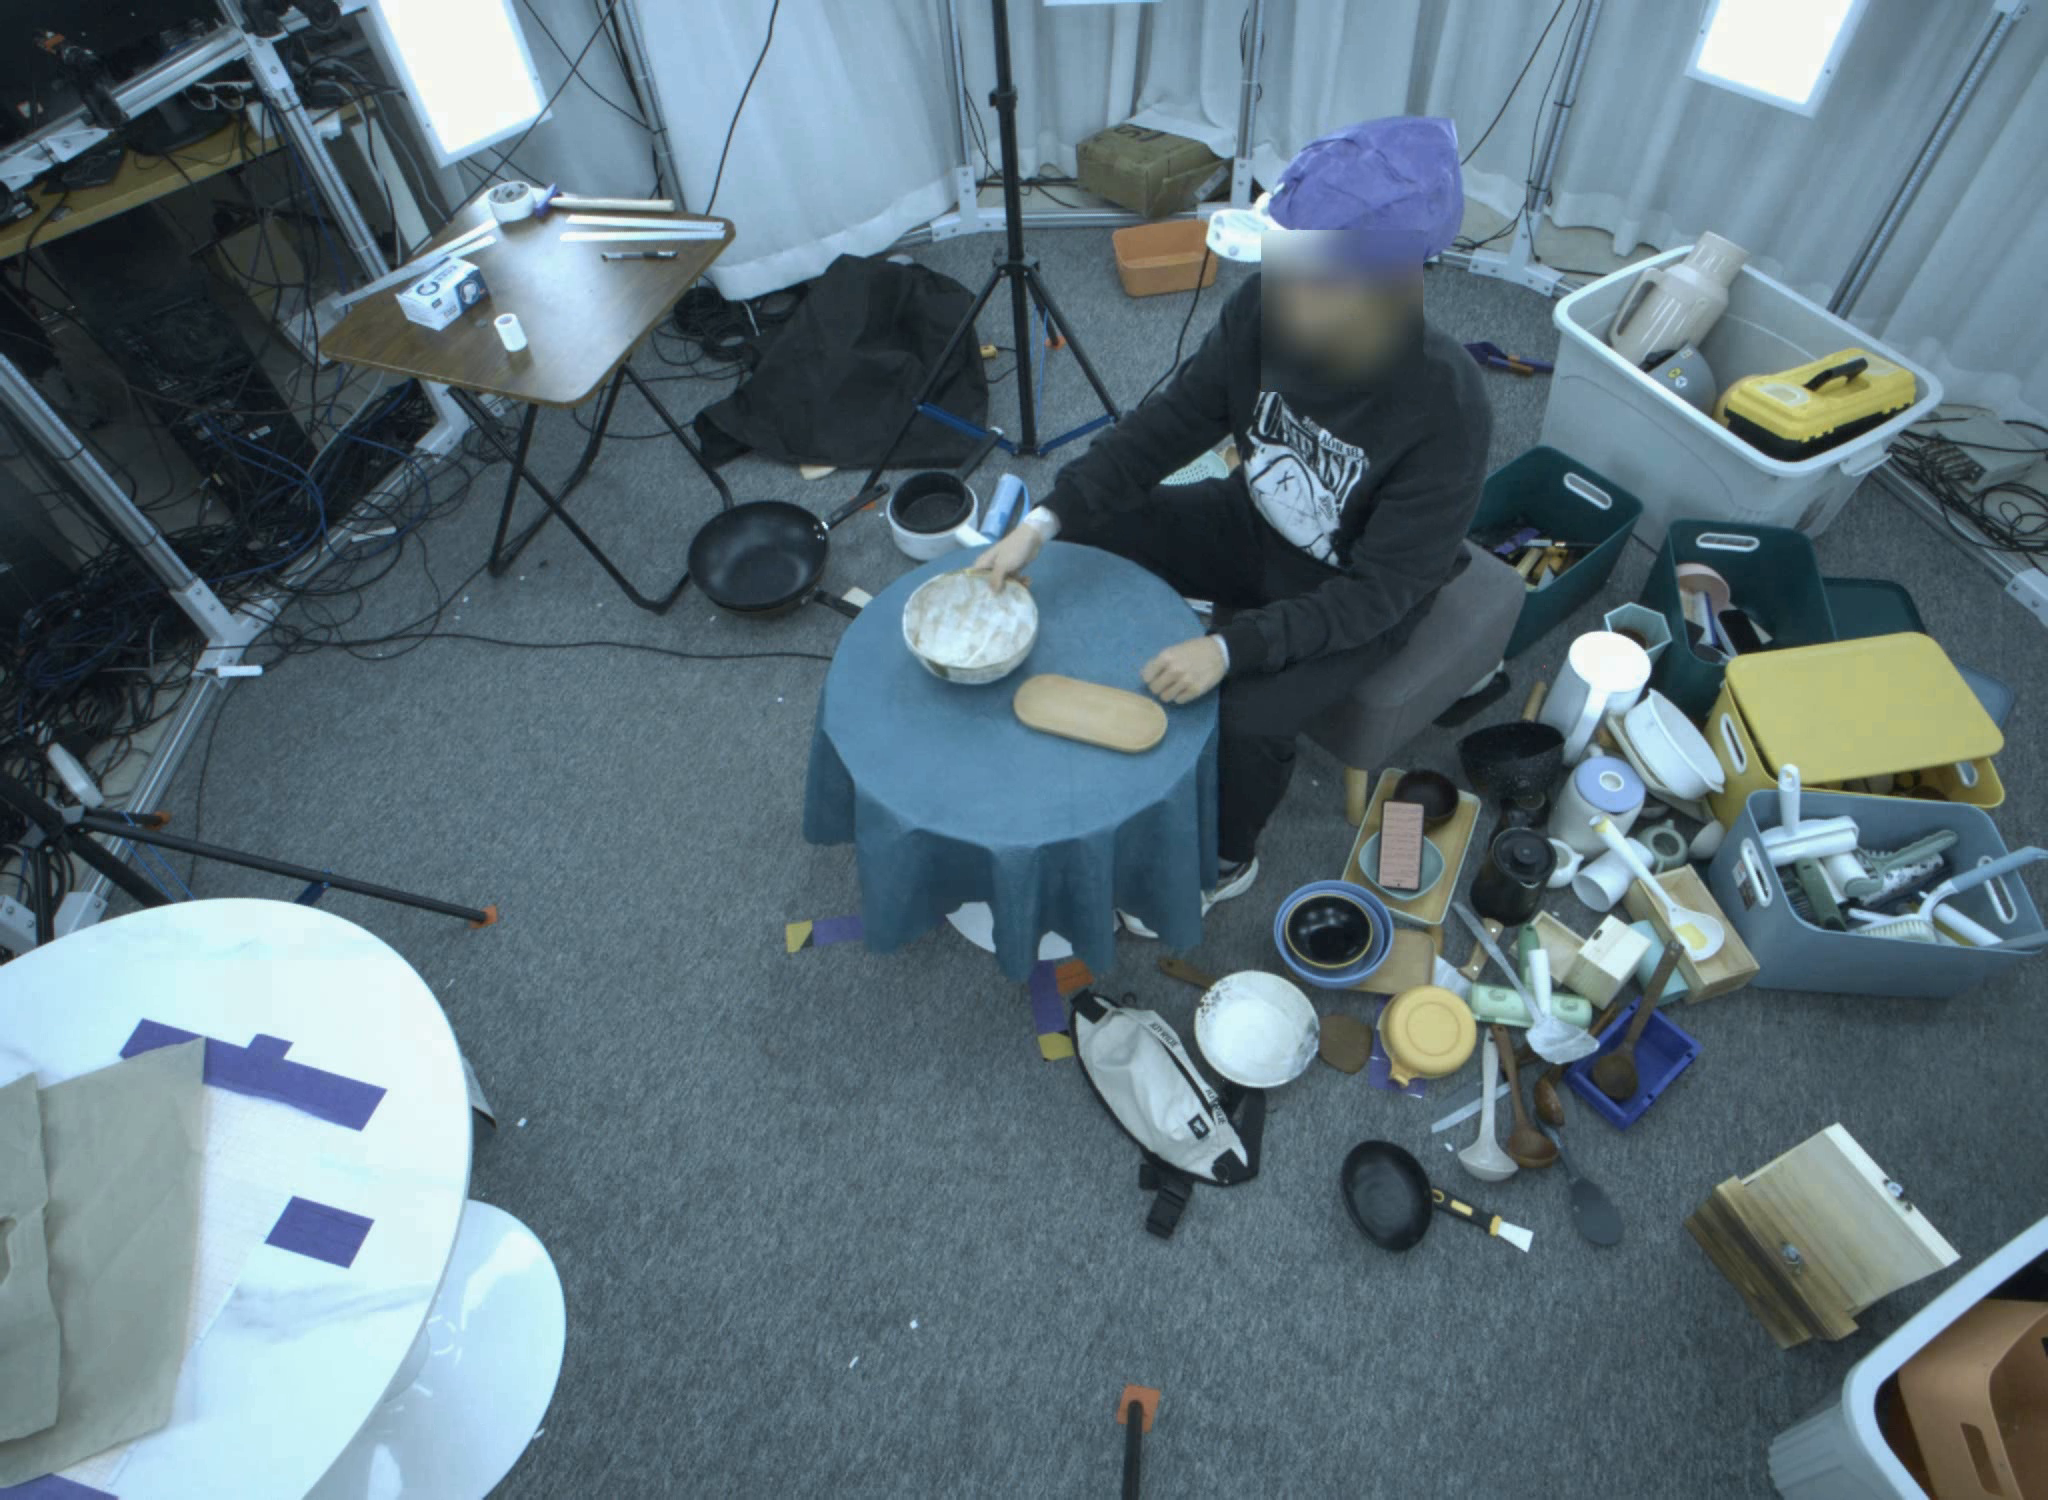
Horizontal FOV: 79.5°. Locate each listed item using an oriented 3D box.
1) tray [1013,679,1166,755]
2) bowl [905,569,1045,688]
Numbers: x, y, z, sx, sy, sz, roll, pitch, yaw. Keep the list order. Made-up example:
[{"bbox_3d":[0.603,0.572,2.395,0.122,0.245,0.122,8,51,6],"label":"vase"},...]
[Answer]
[{"bbox_3d":[0.096,-0.049,1.820,0.229,0.020,0.101,13,54,13],"label":"tray"},{"bbox_3d":[-0.073,-0.166,1.858,0.215,0.095,0.212,1,55,0],"label":"bowl"}]
